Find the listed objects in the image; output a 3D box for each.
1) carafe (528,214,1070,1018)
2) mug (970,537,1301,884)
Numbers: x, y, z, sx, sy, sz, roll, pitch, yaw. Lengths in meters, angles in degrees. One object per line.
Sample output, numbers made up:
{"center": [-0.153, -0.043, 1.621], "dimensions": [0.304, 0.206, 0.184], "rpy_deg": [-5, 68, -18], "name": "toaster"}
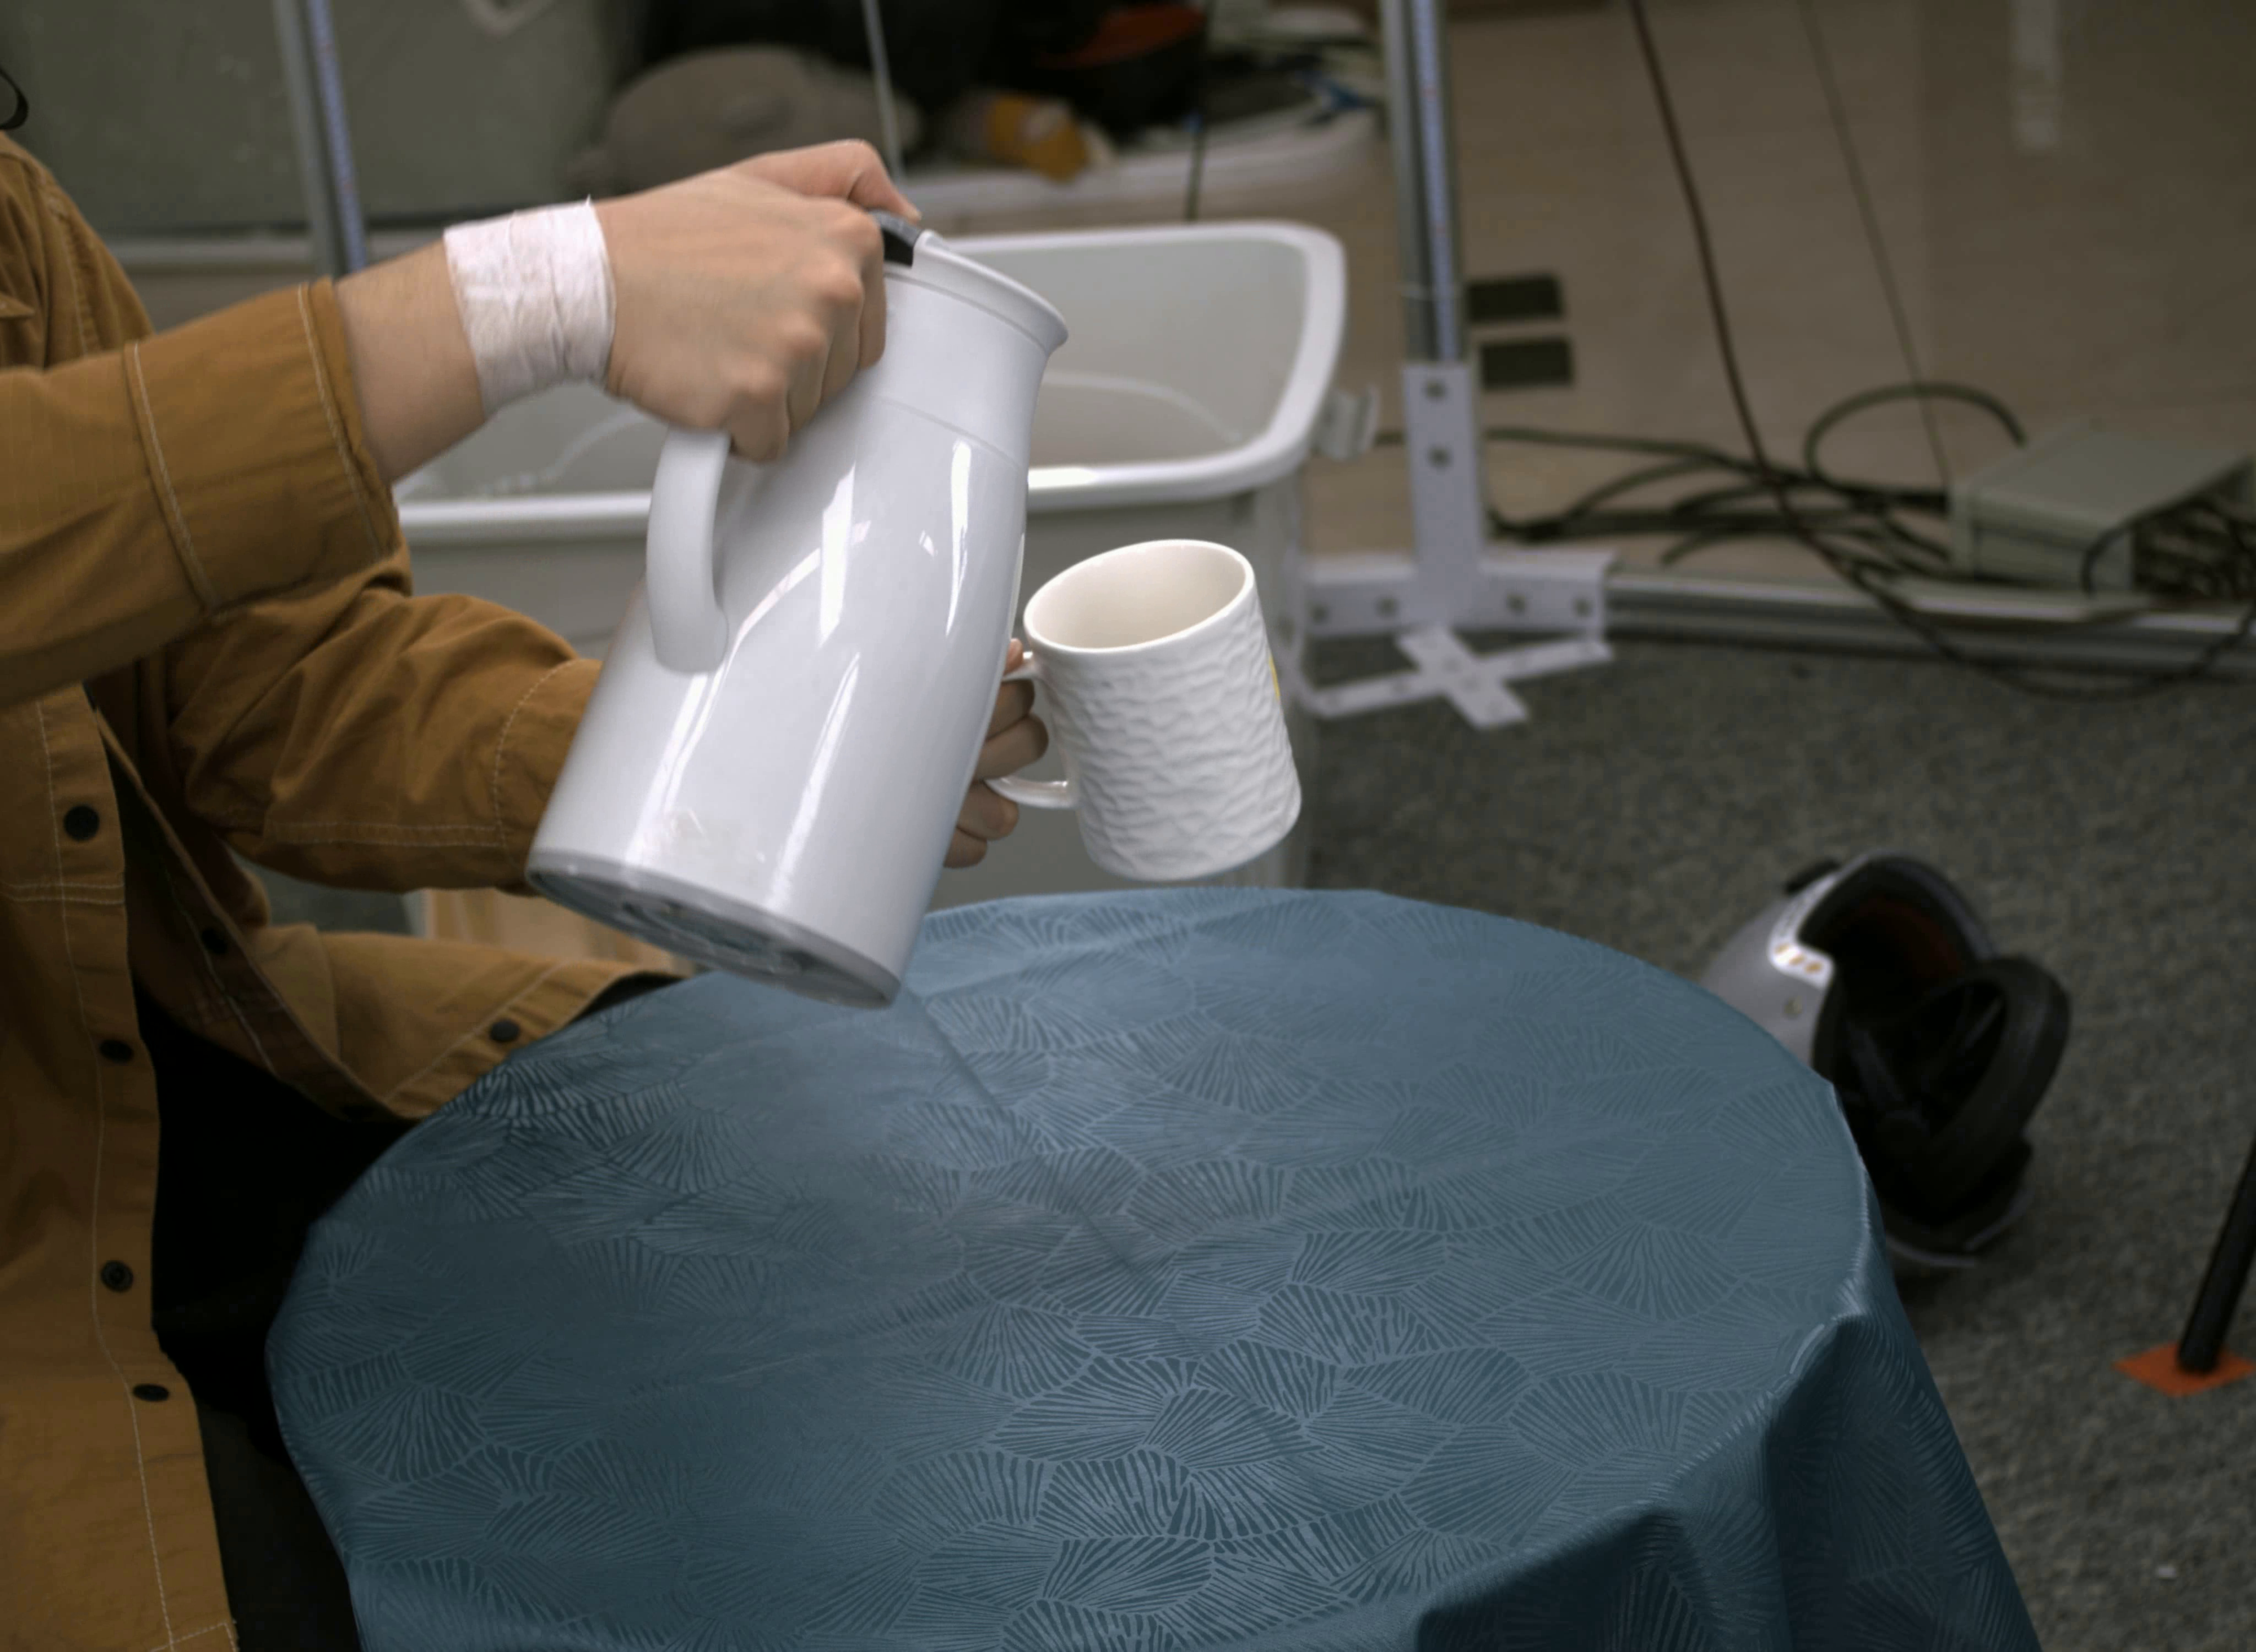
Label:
{"center": [-0.108, -0.079, 1.903], "dimensions": [0.132, 0.248, 0.169], "rpy_deg": [15, -9, 31], "name": "carafe"}
{"center": [0.000, -0.039, 2.084], "dimensions": [0.118, 0.104, 0.083], "rpy_deg": [-9, 31, 4], "name": "mug"}
